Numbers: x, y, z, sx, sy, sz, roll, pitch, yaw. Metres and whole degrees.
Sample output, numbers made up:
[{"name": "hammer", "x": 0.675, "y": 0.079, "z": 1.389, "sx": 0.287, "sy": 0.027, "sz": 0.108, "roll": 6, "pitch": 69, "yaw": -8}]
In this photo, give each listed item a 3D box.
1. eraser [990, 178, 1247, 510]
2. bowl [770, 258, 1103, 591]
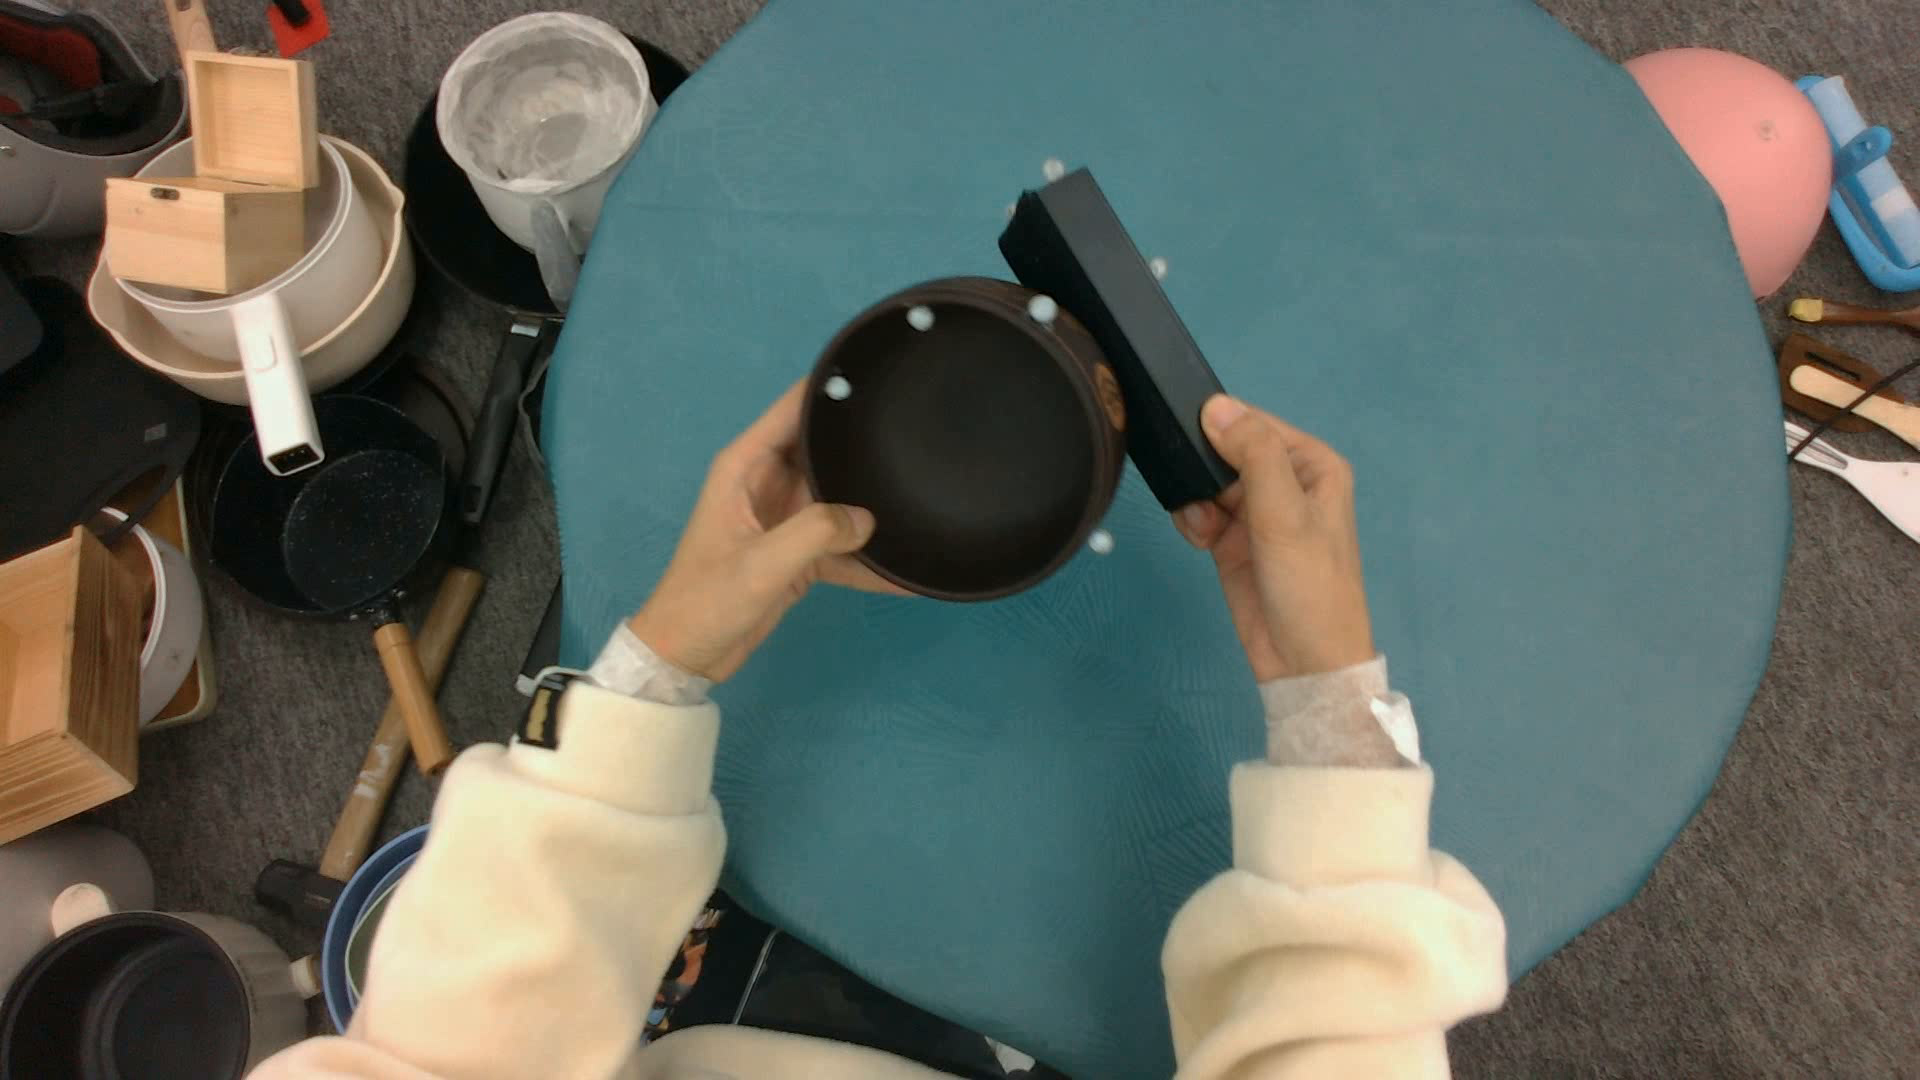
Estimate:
[{"name": "eraser", "x": 0.057, "y": -0.070, "z": 0.510, "sx": 0.030, "sy": 0.053, "sz": 0.125, "roll": -32, "pitch": 93, "yaw": -10}, {"name": "bowl", "x": -0.003, "y": -0.047, "z": 0.509, "sx": 0.118, "sy": 0.070, "sz": 0.117, "roll": 7, "pitch": 113, "yaw": 17}]
